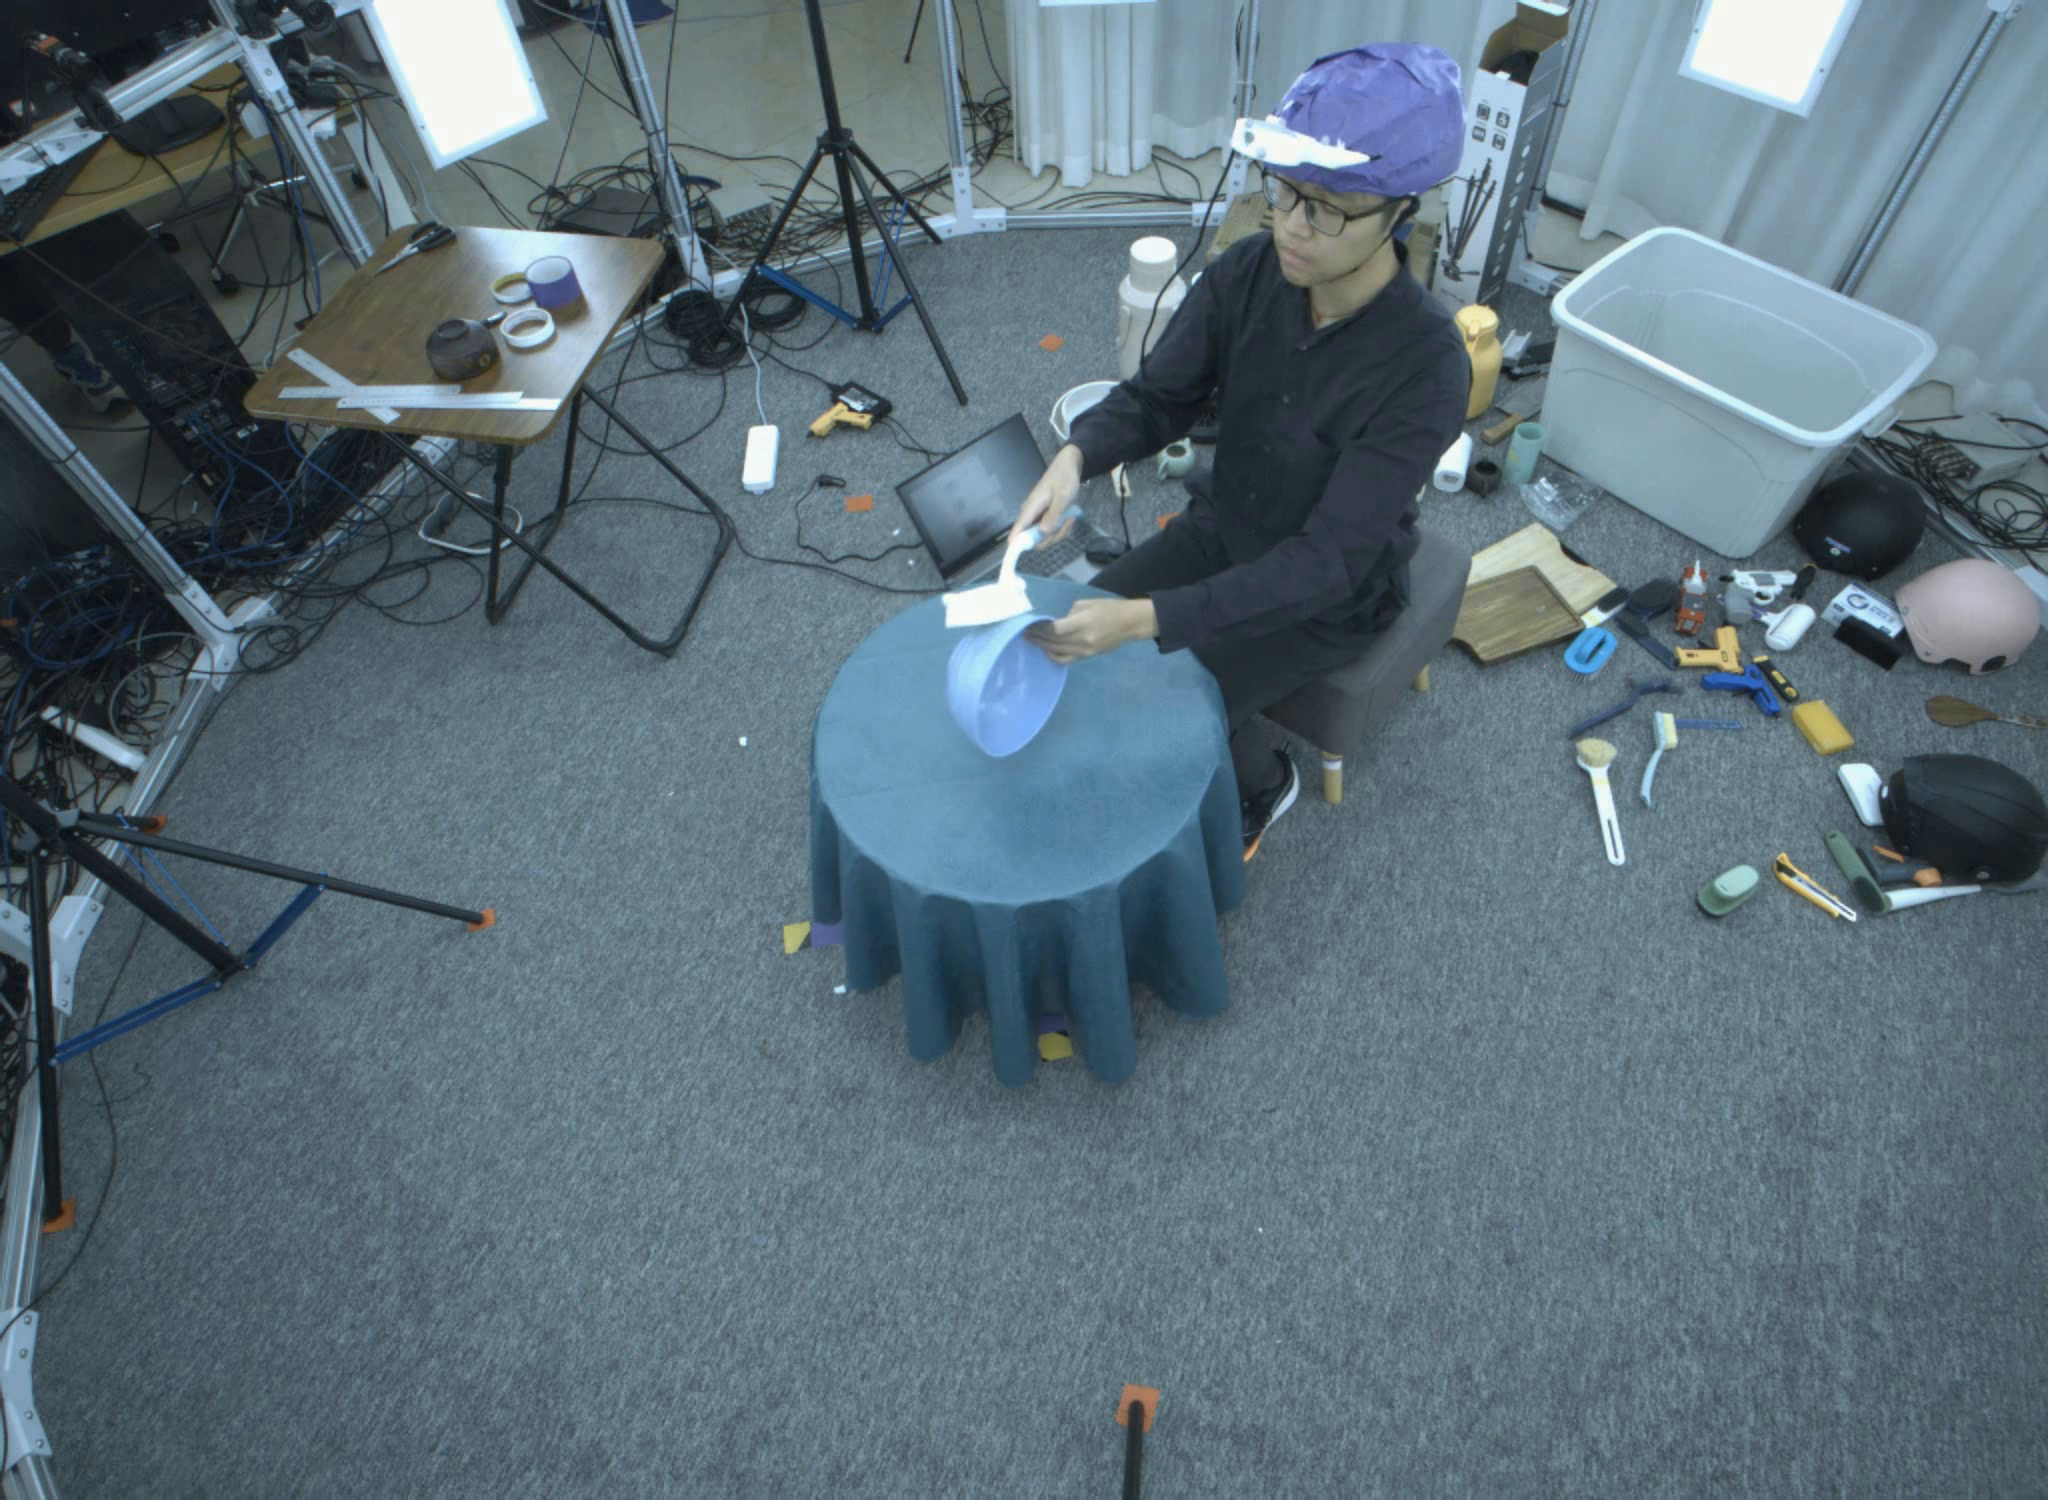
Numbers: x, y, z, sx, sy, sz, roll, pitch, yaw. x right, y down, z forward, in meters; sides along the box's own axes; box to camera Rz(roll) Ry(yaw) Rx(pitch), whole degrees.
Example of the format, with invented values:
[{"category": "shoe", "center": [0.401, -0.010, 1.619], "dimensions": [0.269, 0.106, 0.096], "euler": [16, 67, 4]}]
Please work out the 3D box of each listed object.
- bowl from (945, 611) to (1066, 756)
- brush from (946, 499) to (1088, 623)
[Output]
[{"category": "bowl", "center": [-0.038, -0.100, 1.612], "dimensions": [0.093, 0.199, 0.197], "euler": [26, 60, 27]}, {"category": "brush", "center": [0.009, -0.235, 1.620], "dimensions": [0.082, 0.085, 0.328], "euler": [31, 43, 16]}]
